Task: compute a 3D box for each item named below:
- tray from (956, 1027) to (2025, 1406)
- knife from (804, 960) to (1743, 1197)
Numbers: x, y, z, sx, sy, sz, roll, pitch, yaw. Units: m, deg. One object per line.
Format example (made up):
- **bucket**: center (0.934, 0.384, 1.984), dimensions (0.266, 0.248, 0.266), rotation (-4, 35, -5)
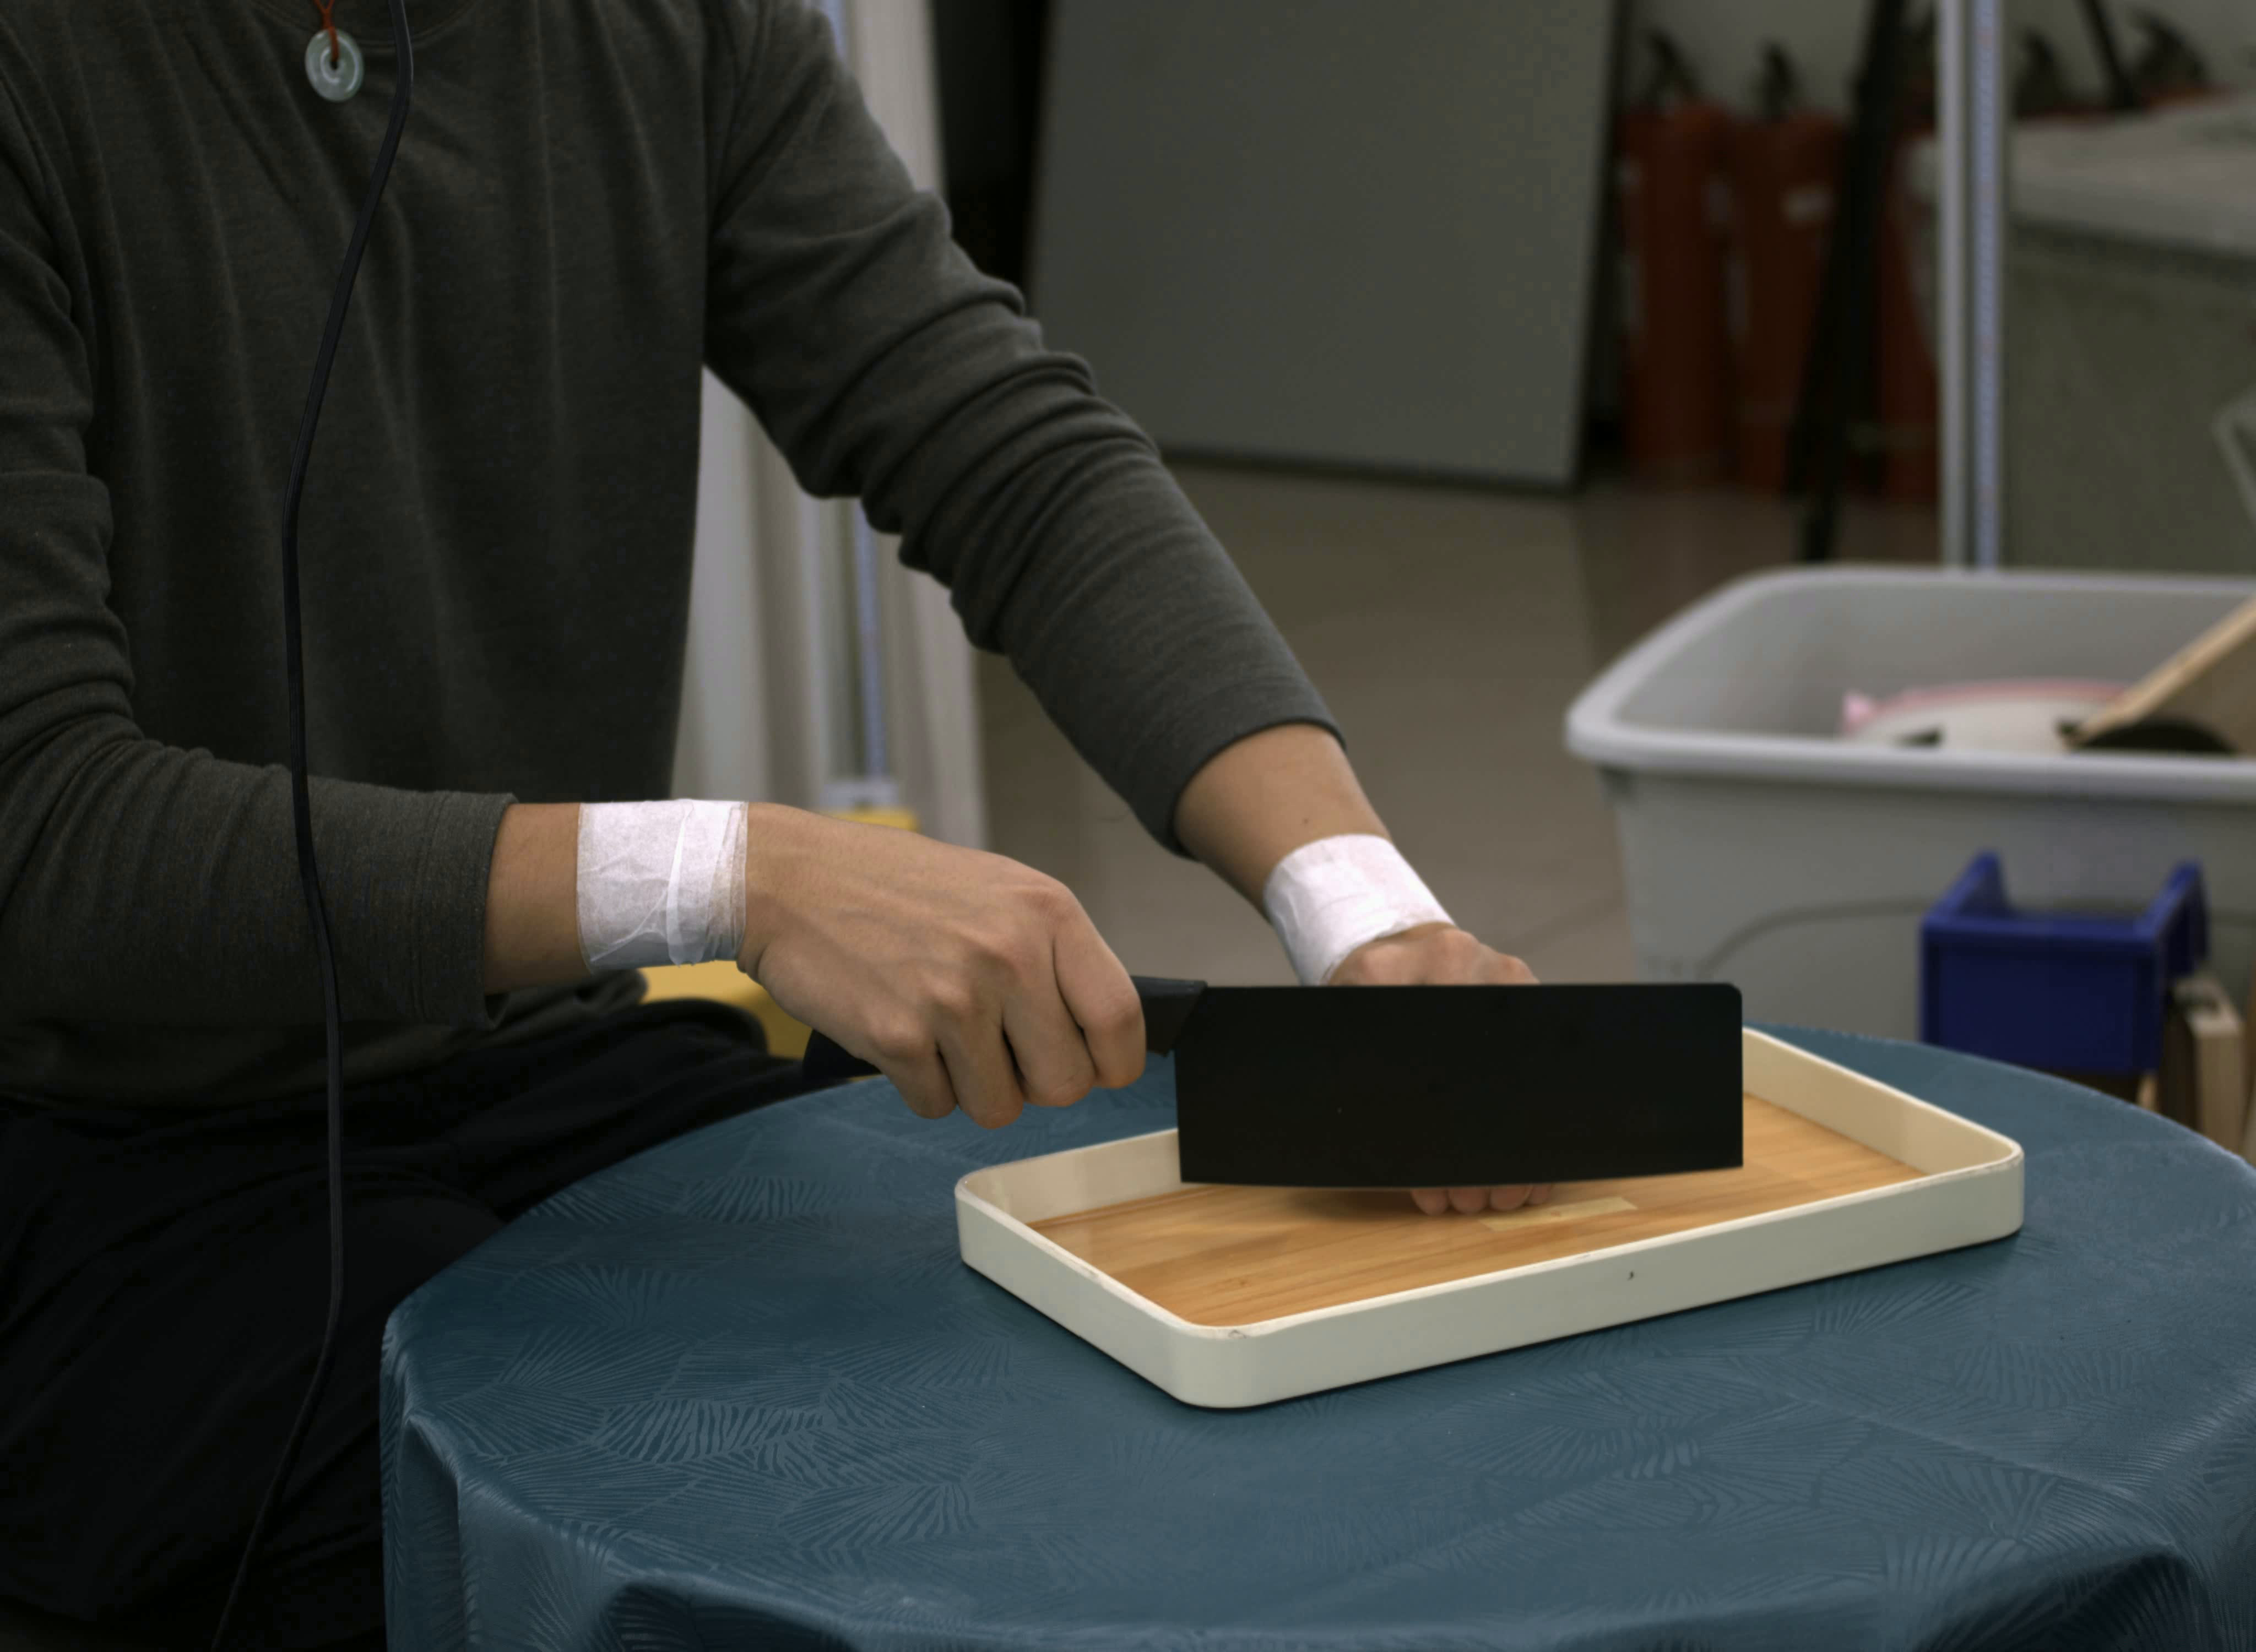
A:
- **tray**: center (0.113, 0.119, 1.694), dimensions (0.294, 0.028, 0.193), rotation (-10, 14, -23)
- **knife**: center (0.045, 0.078, 1.698), dimensions (0.300, 0.082, 0.021), rotation (4, 10, 10)
